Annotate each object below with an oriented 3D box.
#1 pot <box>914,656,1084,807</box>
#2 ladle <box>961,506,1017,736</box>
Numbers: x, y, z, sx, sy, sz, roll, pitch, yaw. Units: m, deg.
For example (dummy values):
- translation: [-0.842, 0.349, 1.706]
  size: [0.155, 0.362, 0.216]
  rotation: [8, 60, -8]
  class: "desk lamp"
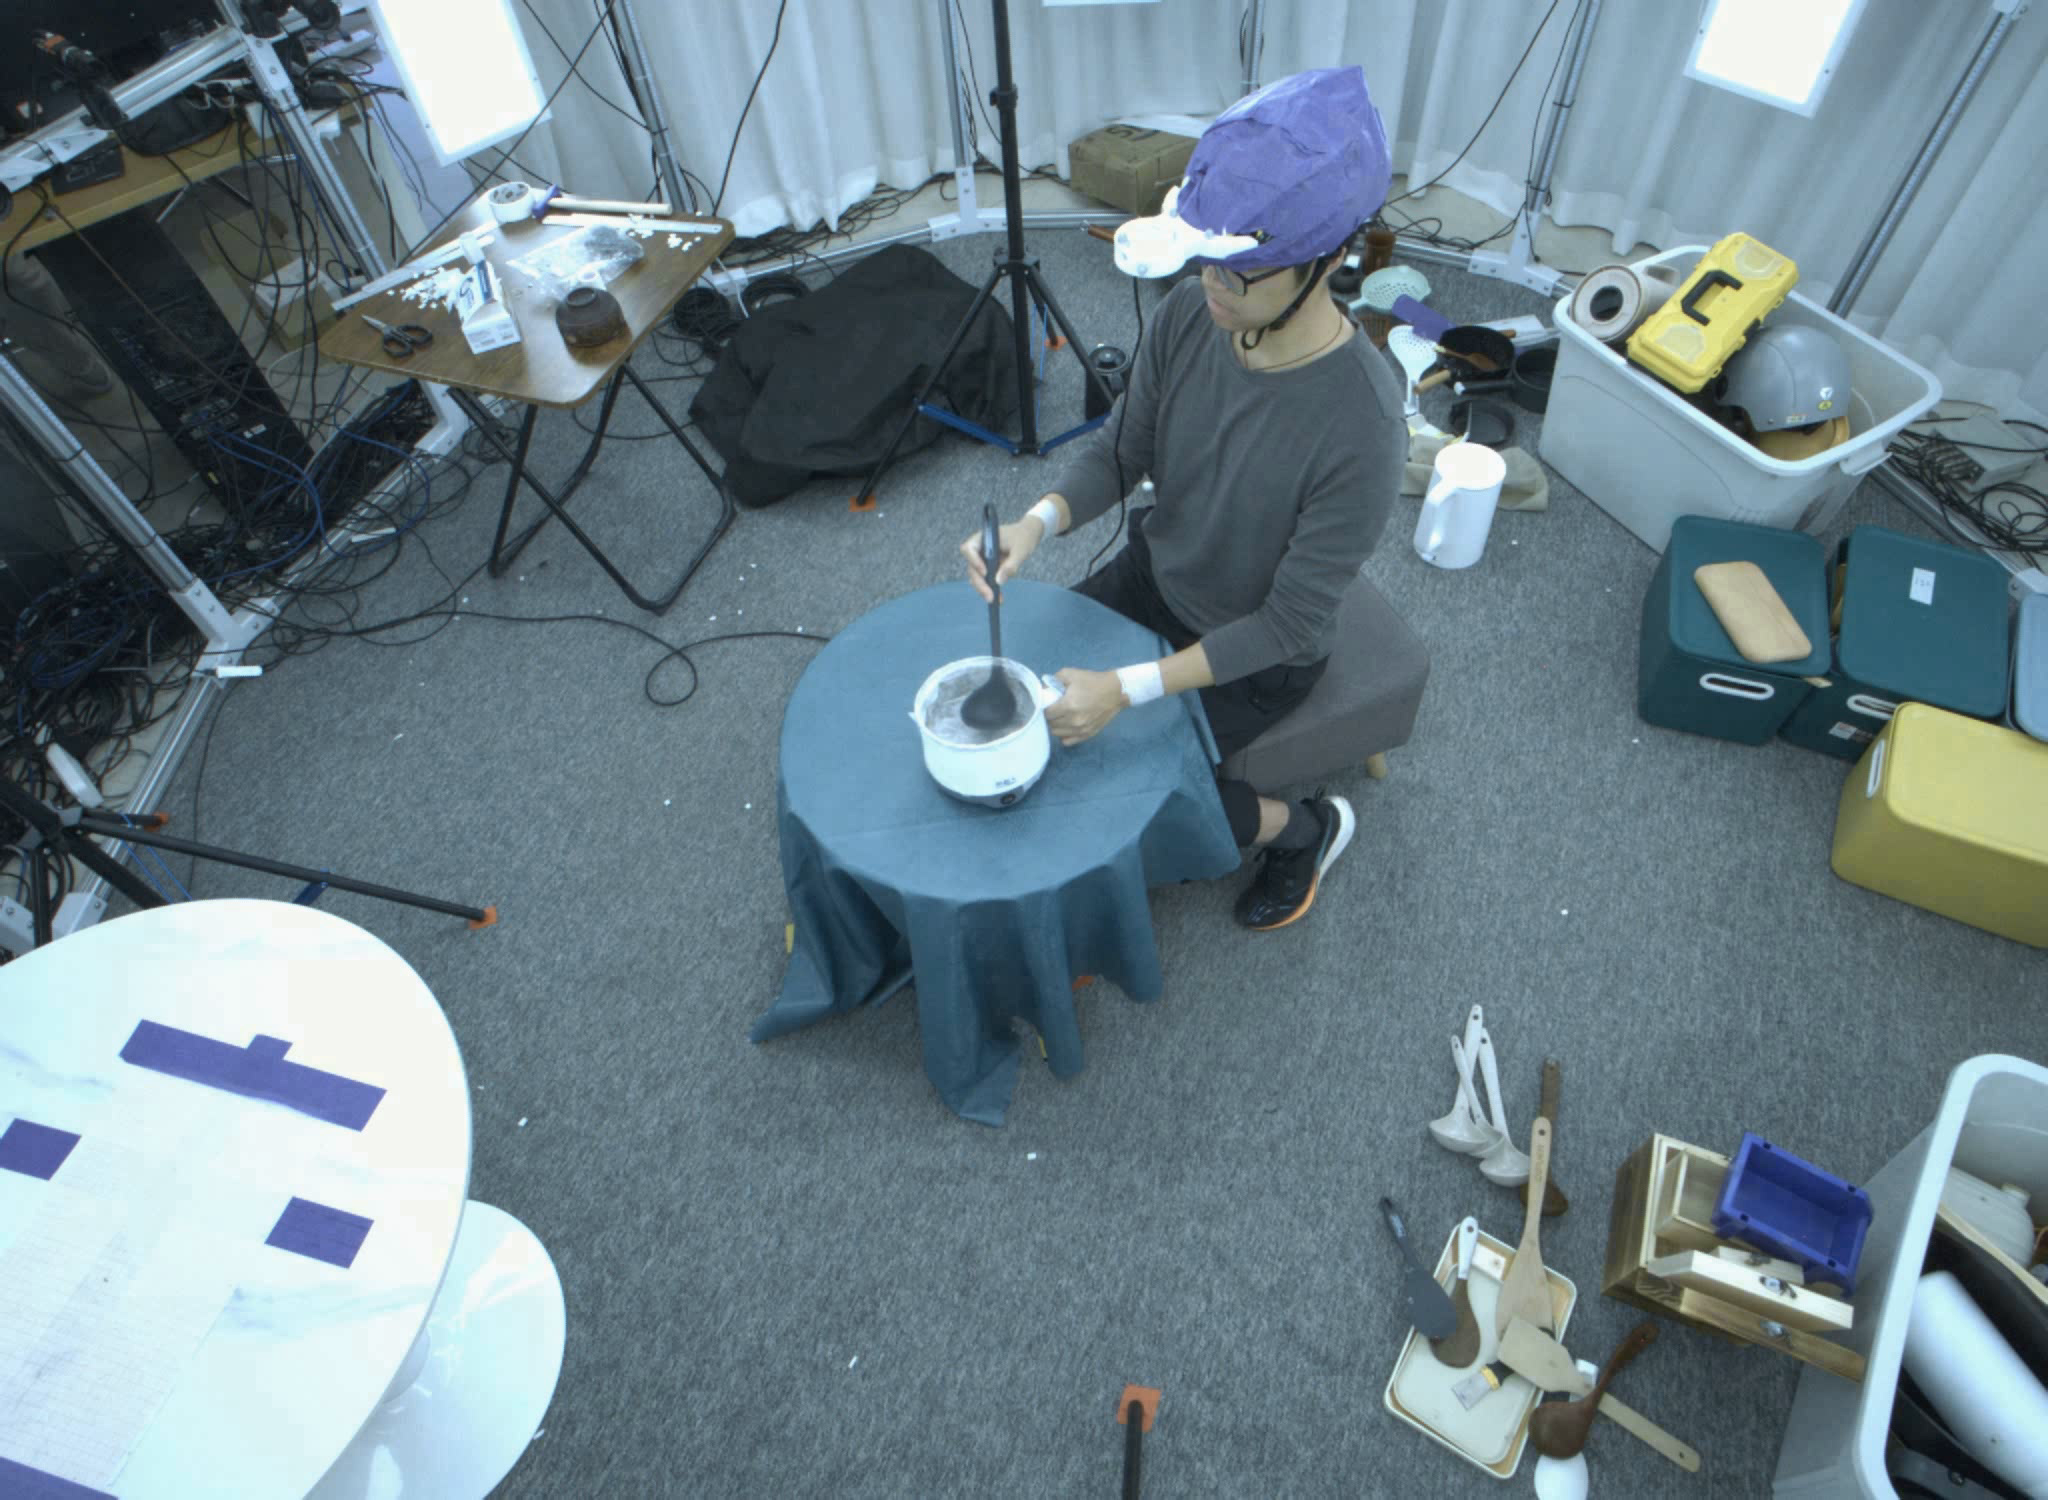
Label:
- translation: [-0.030, -0.034, 1.729]
  size: [0.235, 0.138, 0.175]
  rotation: [-19, 49, -12]
  class: "pot"
- translation: [-0.051, -0.172, 1.671]
  size: [0.085, 0.316, 0.064]
  rotation: [8, 25, 23]
  class: "ladle"
